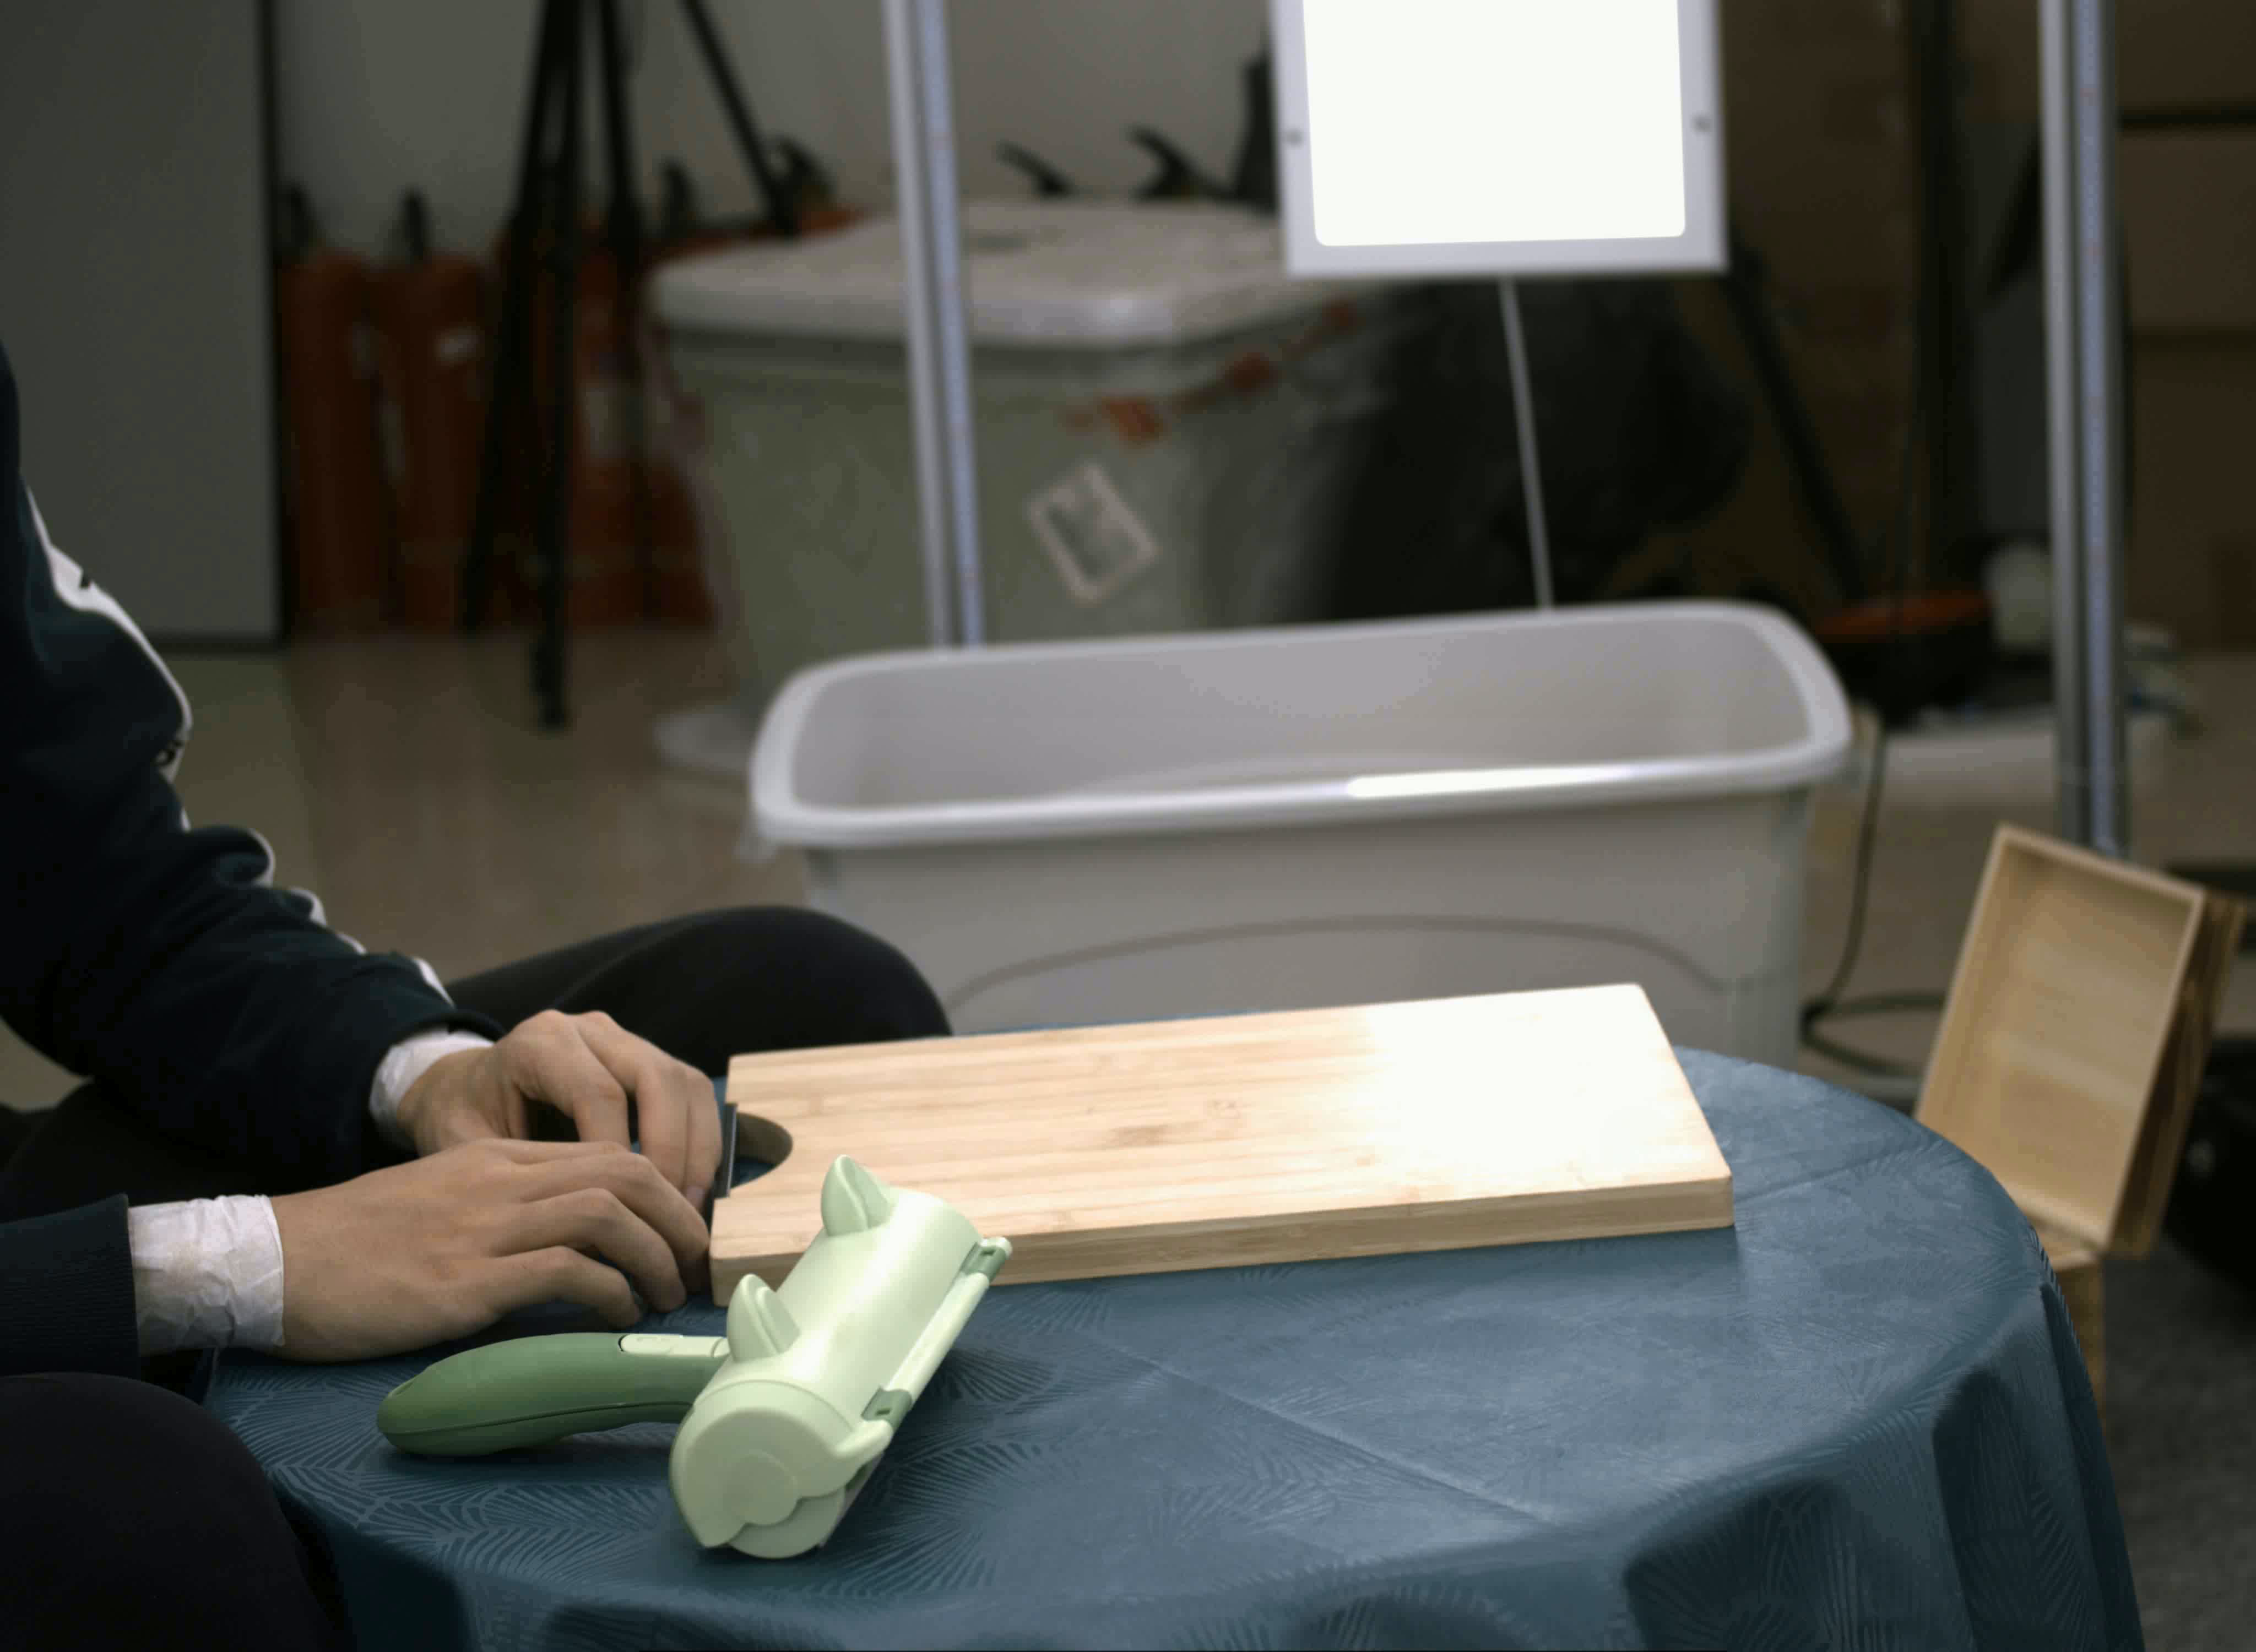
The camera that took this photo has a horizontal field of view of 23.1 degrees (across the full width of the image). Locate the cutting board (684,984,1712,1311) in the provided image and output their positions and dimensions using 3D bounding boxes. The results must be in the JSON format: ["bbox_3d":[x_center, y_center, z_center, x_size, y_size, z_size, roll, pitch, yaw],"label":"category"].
[{"bbox_3d":[0.022,0.110,1.921,0.348,0.023,0.250,-5,13,0],"label":"cutting board"}]

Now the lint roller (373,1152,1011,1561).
[{"bbox_3d":[-0.143,0.154,1.675,0.184,0.082,0.196,2,15,12],"label":"lint roller"}]
